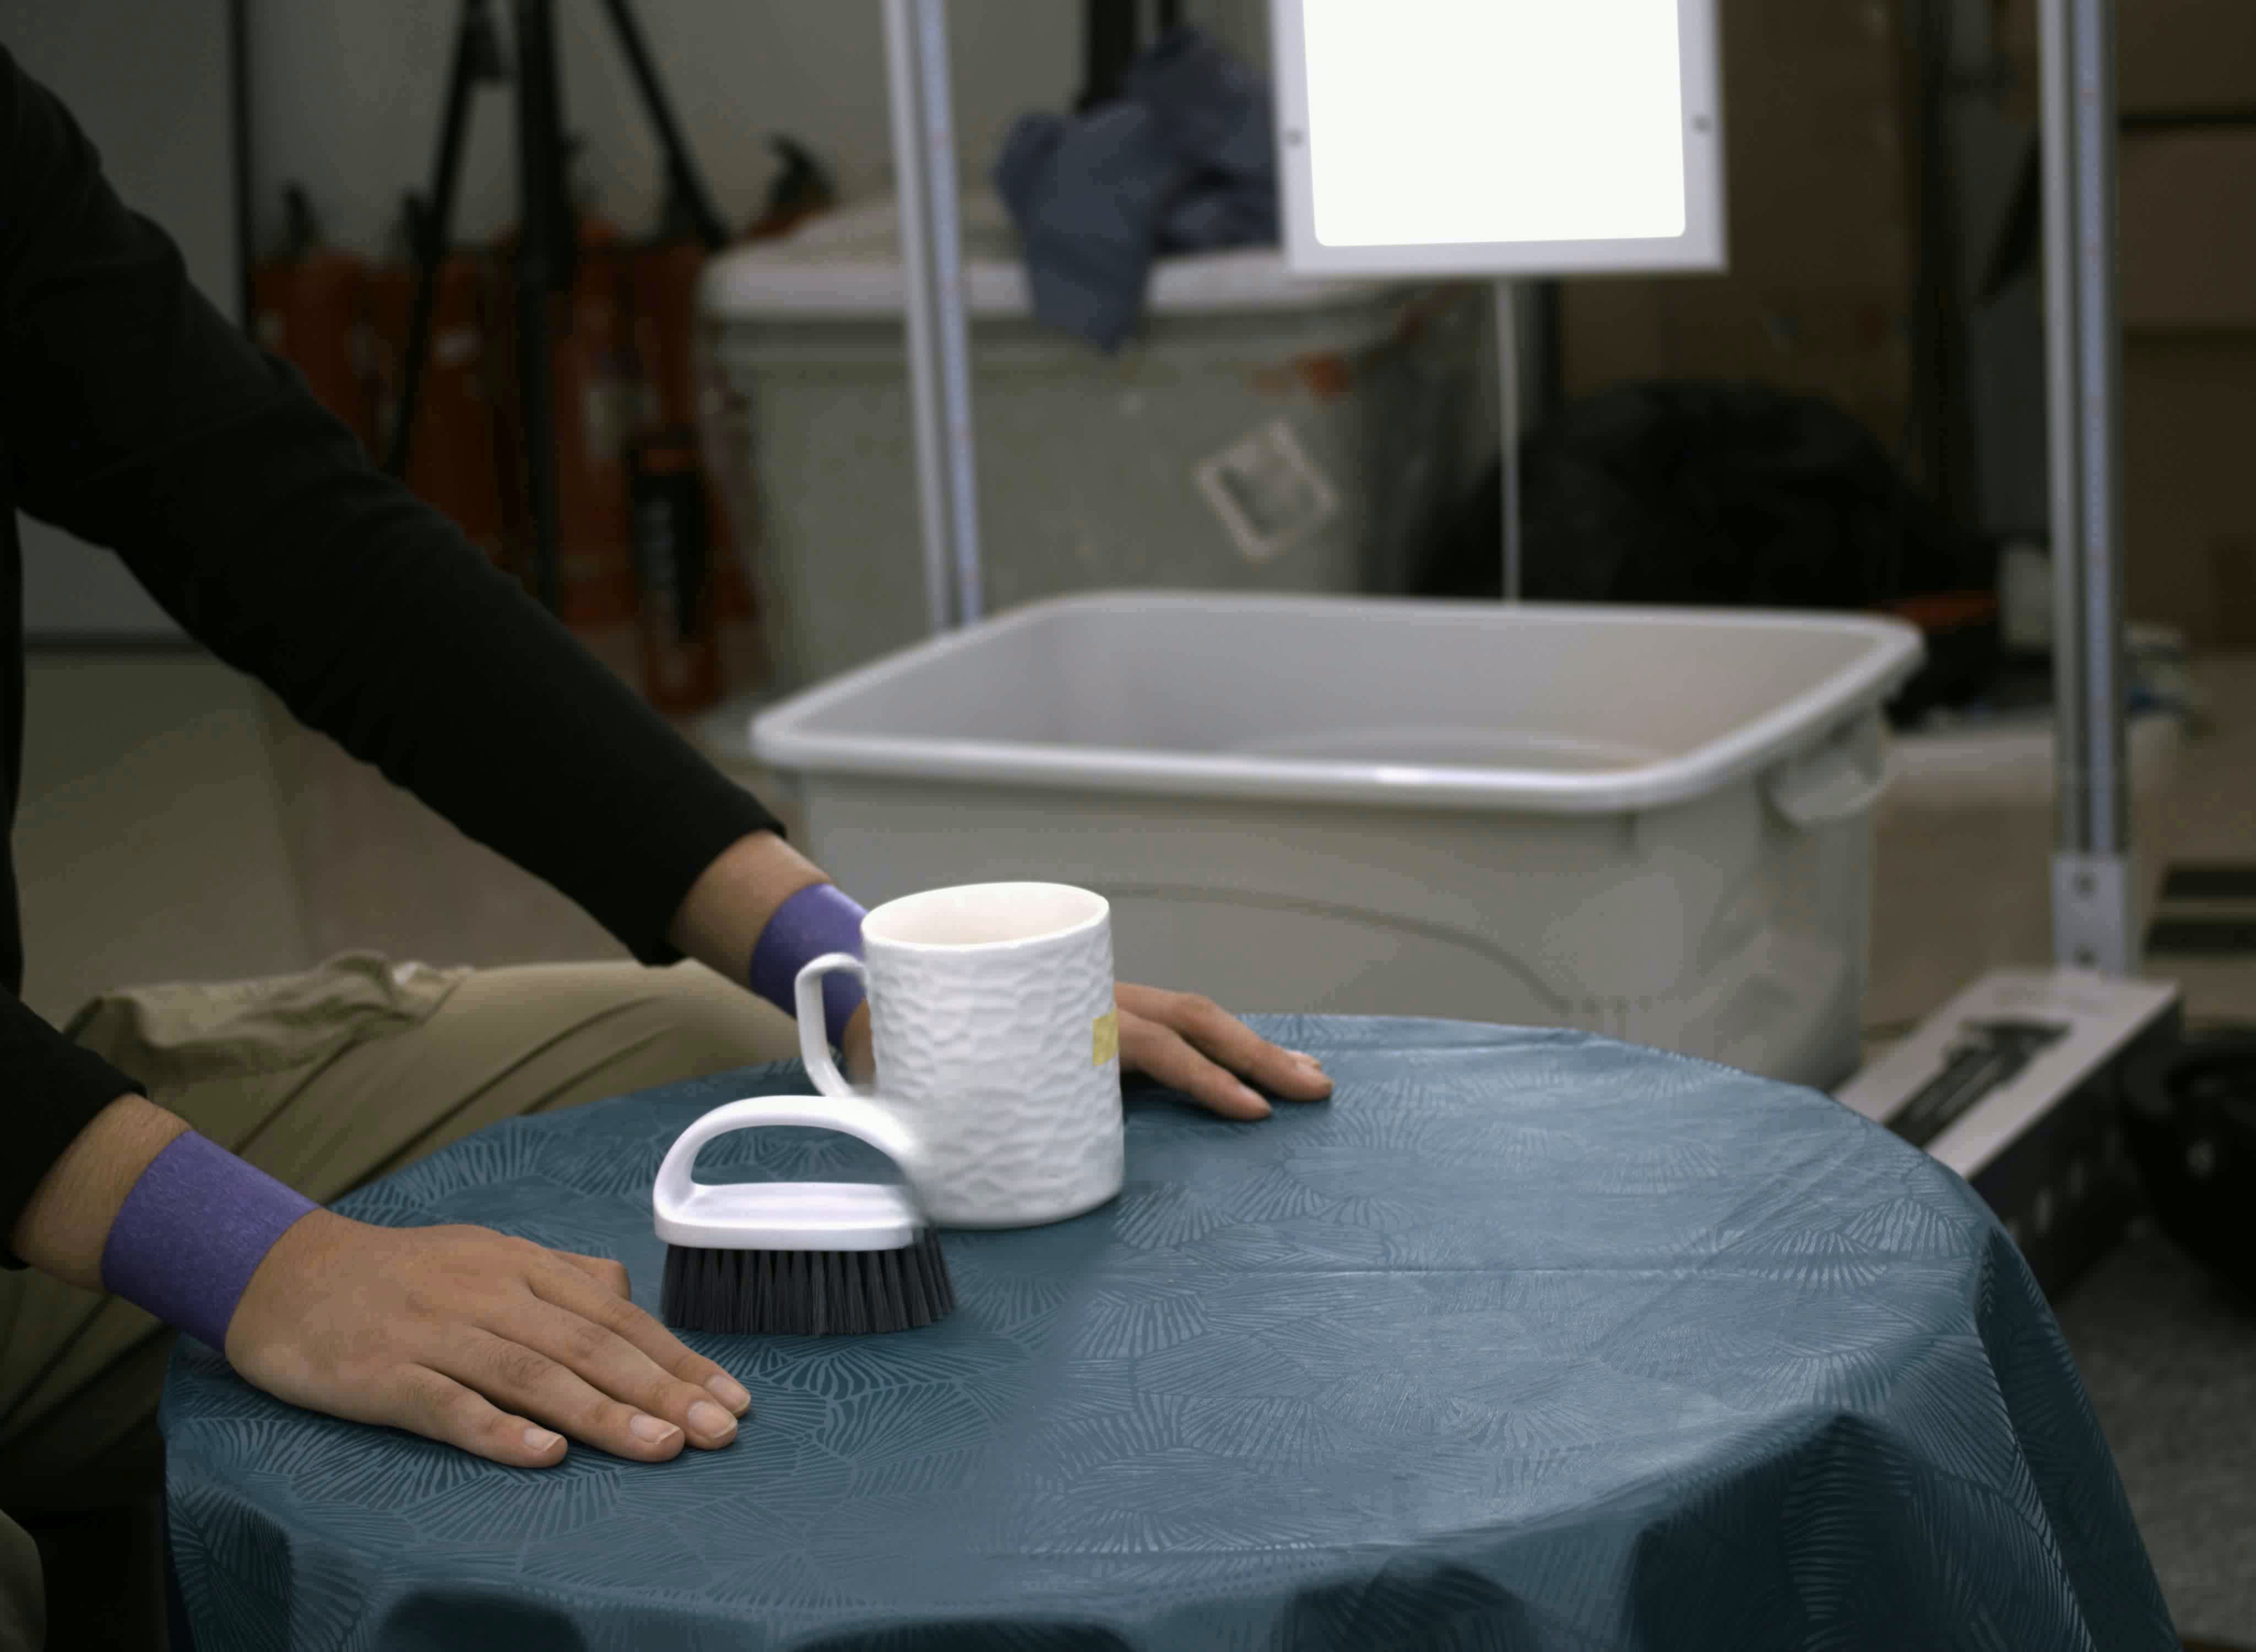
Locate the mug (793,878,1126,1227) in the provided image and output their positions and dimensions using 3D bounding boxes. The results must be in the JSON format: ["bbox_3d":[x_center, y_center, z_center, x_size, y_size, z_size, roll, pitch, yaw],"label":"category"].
[{"bbox_3d":[-0.060,0.077,1.901,0.120,0.102,0.083,1,15,27],"label":"mug"}]

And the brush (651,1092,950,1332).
[{"bbox_3d":[-0.108,0.123,1.794,0.100,0.073,0.049,1,13,19],"label":"brush"}]
